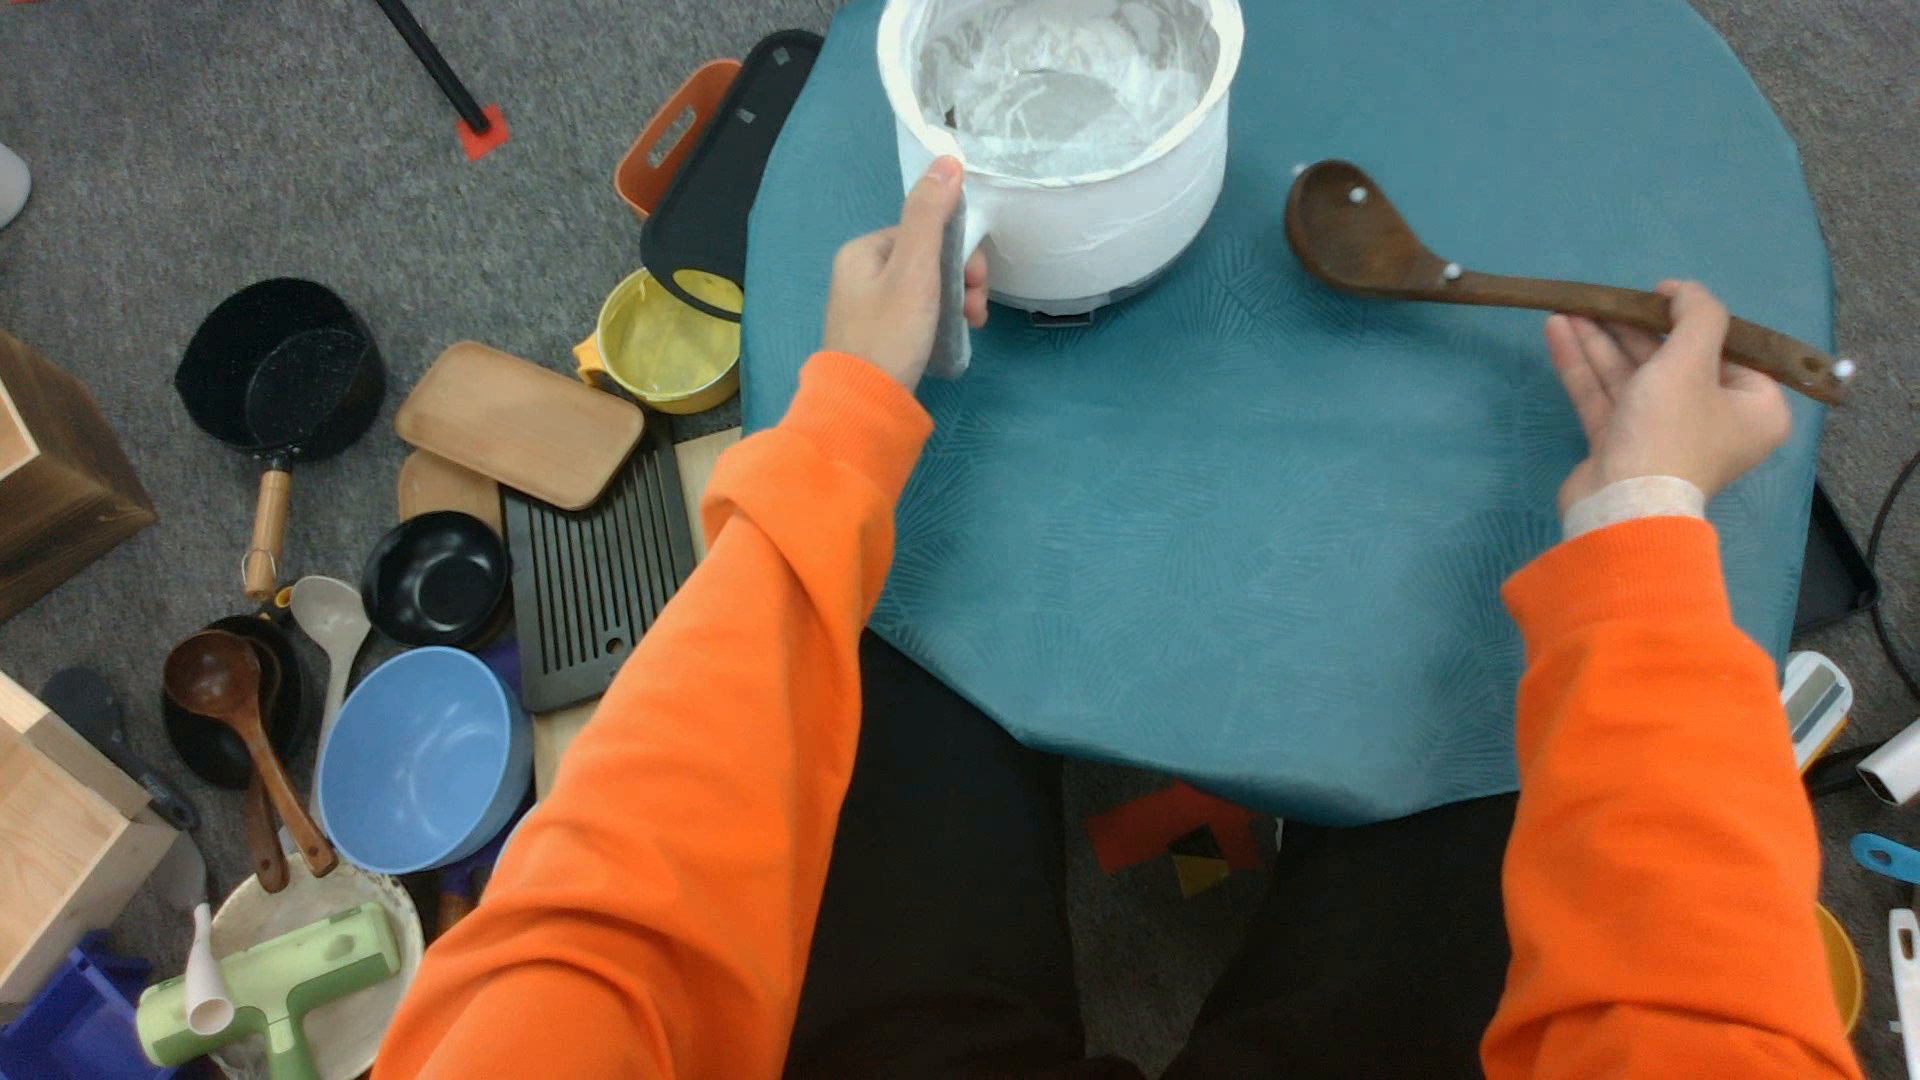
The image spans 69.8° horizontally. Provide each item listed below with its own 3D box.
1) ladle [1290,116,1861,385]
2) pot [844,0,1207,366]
[{"bbox_3d":[0.289,-0.145,0.667,0.274,0.071,0.076,25,63,33],"label":"ladle"},{"bbox_3d":[0.025,-0.206,0.717,0.178,0.136,0.234,26,73,16],"label":"pot"}]
